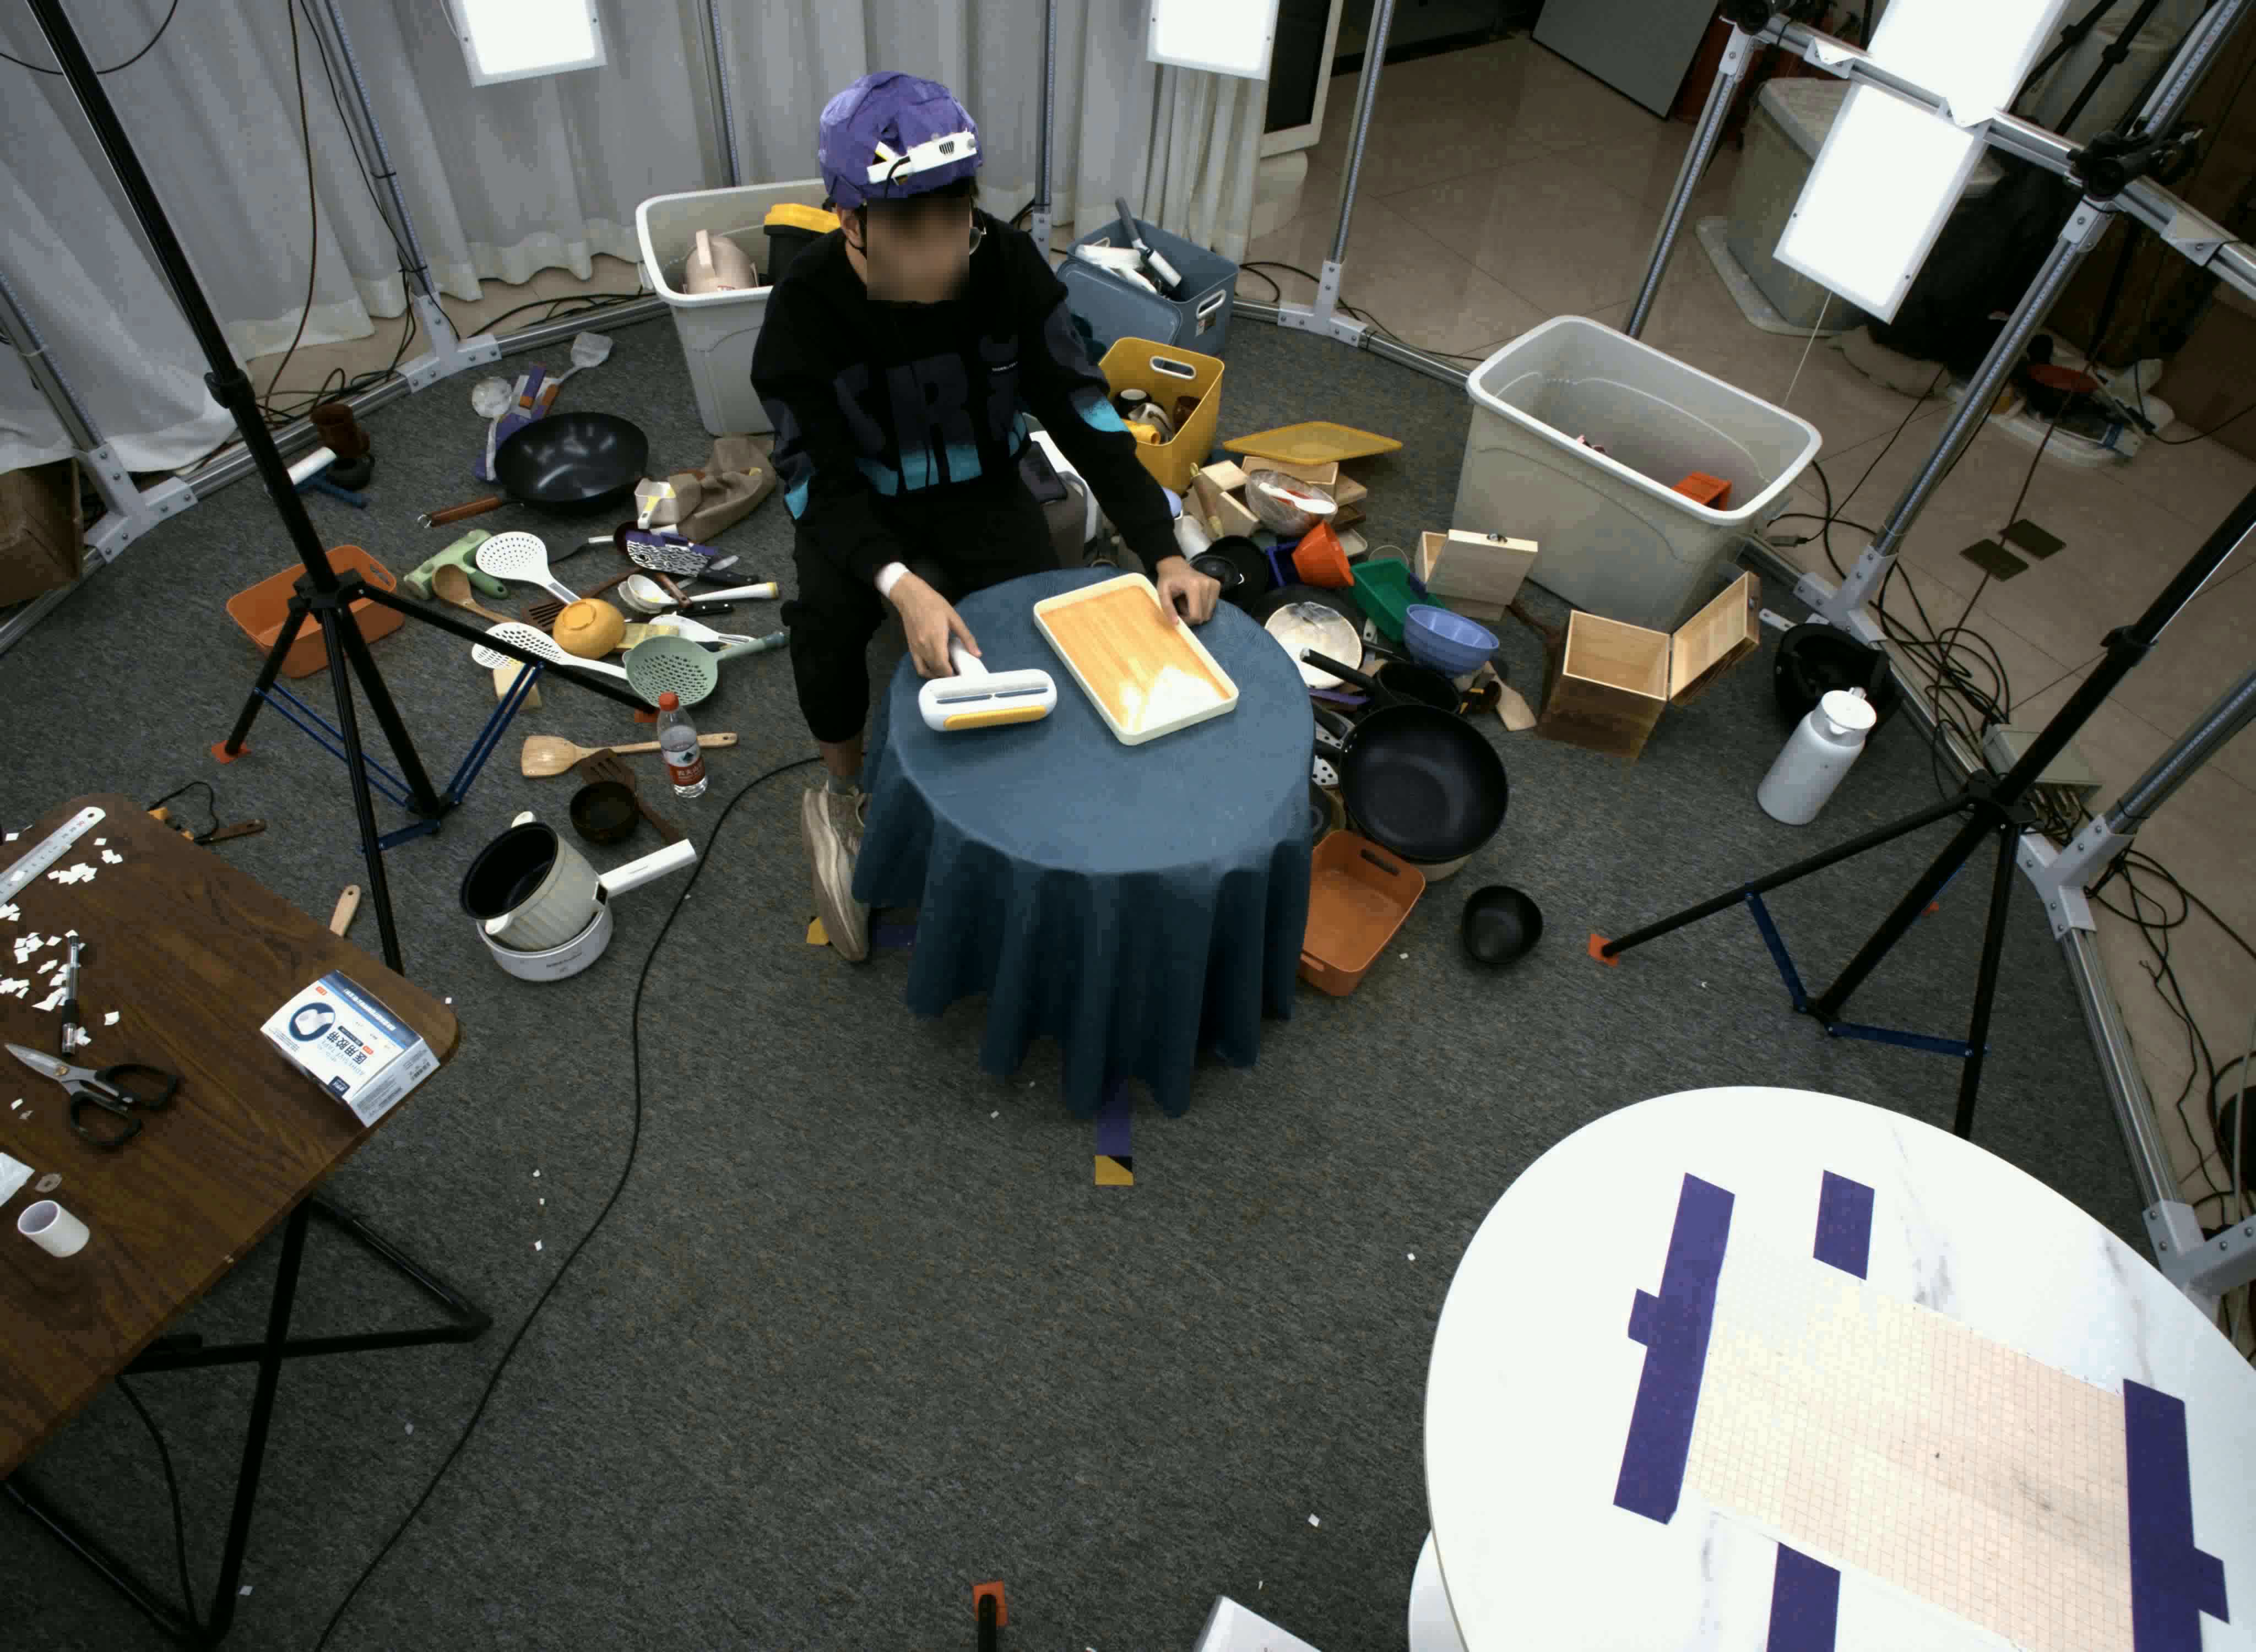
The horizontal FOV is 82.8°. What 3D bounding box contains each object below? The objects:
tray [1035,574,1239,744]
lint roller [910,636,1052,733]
[{"bbox_3d":[0.009,-0.248,1.867,0.192,0.027,0.307,-20,53,-20],"label":"tray"},{"bbox_3d":[-0.216,-0.210,1.789,0.192,0.072,0.197,-9,51,-18],"label":"lint roller"}]
